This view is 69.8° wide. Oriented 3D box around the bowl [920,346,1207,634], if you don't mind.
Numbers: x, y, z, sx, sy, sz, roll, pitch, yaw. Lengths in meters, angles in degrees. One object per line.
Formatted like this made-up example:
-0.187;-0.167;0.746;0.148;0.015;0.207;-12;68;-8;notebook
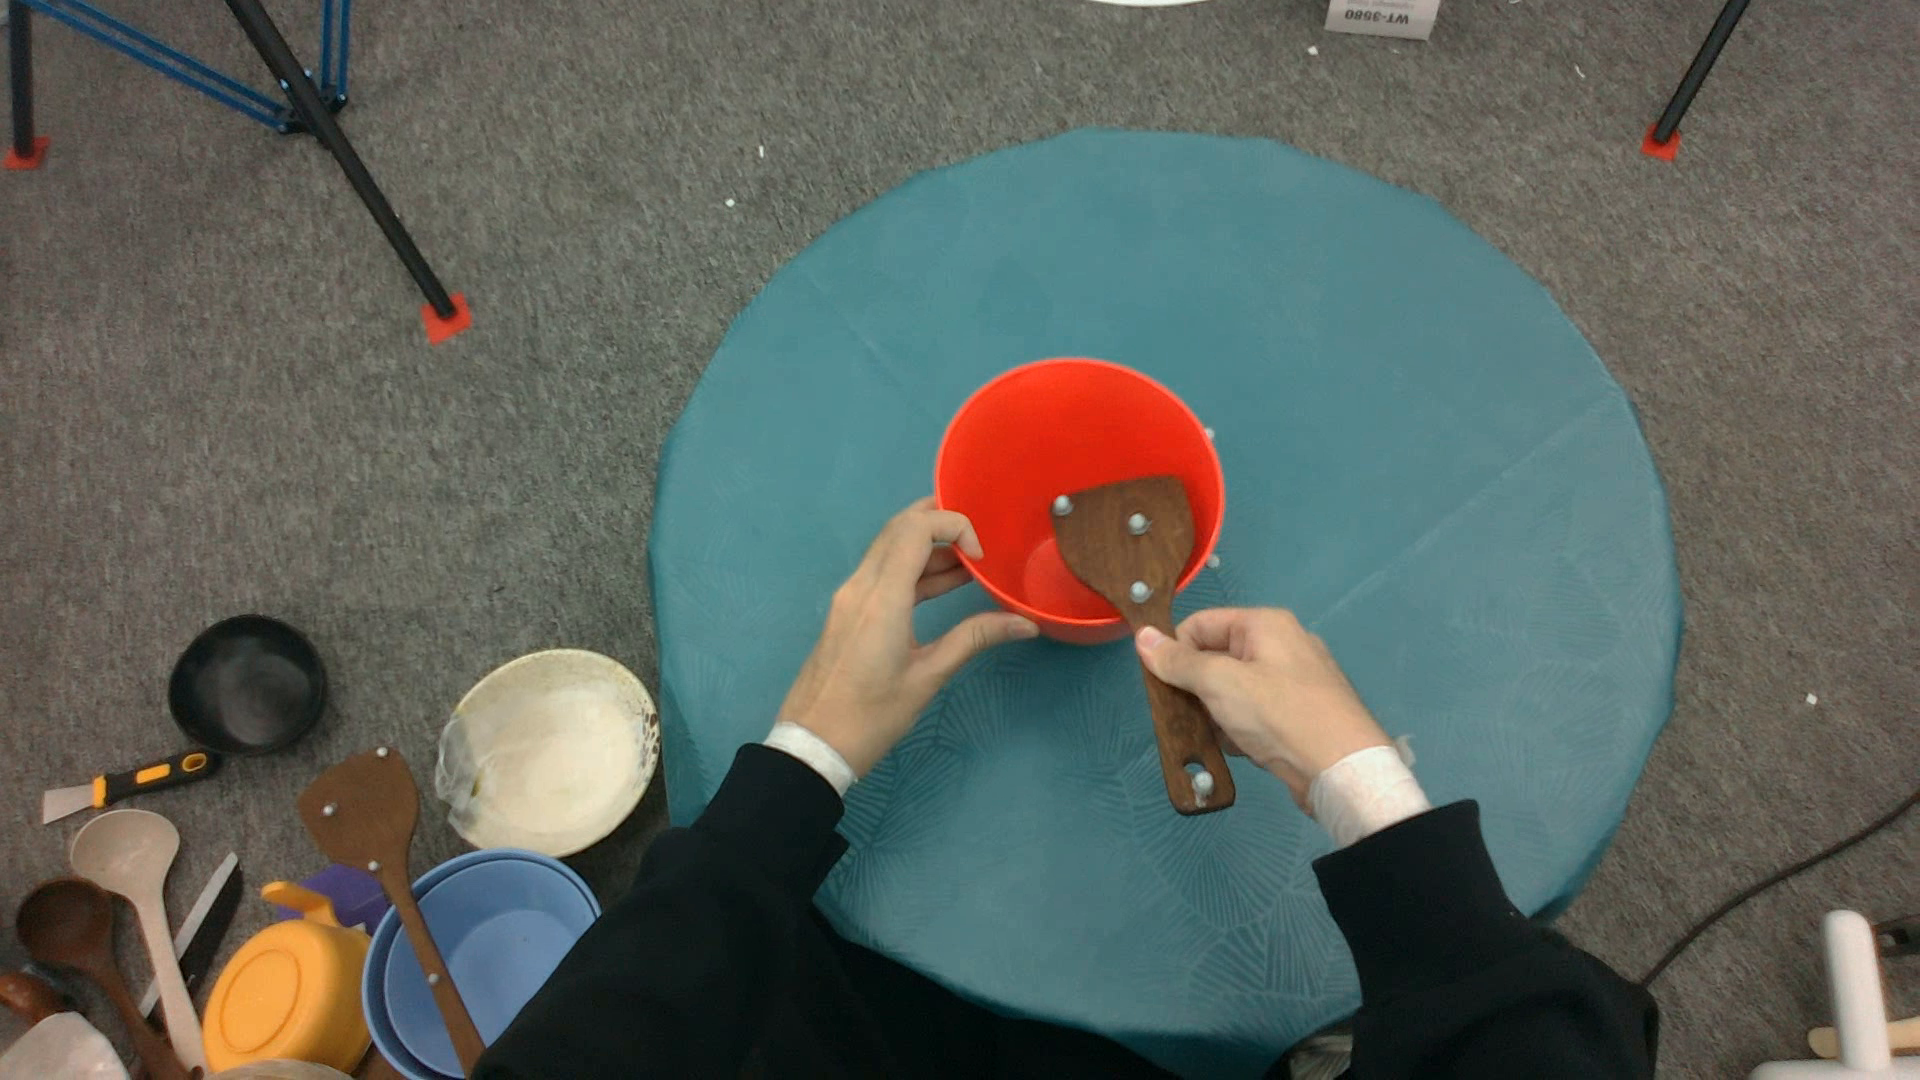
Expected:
0.053;-0.014;0.736;0.148;0.104;0.148;1;61;-1;bowl

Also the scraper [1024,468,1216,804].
0.083;0.039;0.657;0.076;0.011;0.212;-10;43;-1;scraper
